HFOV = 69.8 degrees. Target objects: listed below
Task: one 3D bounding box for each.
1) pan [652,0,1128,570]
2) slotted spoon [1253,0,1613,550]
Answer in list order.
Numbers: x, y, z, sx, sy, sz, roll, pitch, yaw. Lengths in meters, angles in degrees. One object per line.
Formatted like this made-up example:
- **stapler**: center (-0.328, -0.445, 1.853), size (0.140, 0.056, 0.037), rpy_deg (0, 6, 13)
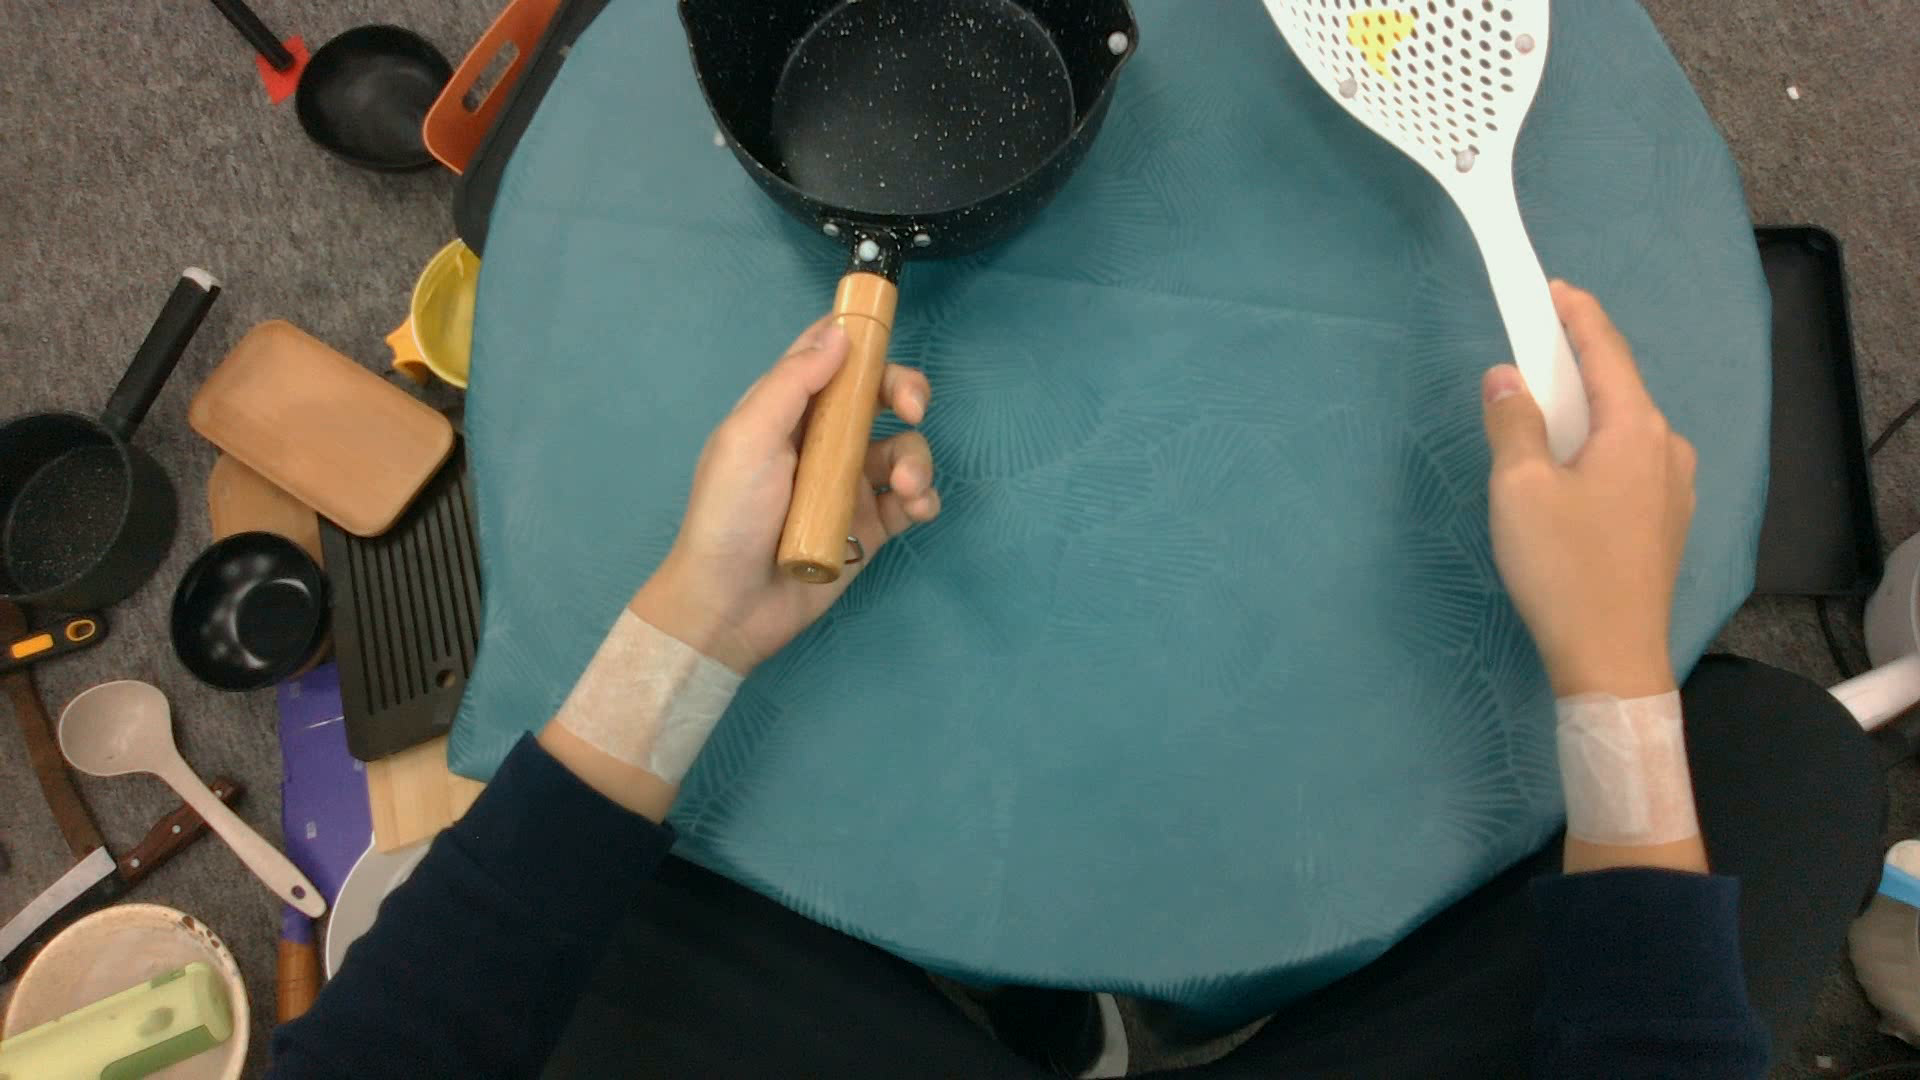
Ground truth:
- **pan**: center (-0.038, -0.145, 0.599), size (0.207, 0.108, 0.343), rpy_deg (6, 76, 4)
- **slotted spoon**: center (0.214, -0.160, 0.599), size (0.137, 0.050, 0.349), rpy_deg (-9, 65, -7)
